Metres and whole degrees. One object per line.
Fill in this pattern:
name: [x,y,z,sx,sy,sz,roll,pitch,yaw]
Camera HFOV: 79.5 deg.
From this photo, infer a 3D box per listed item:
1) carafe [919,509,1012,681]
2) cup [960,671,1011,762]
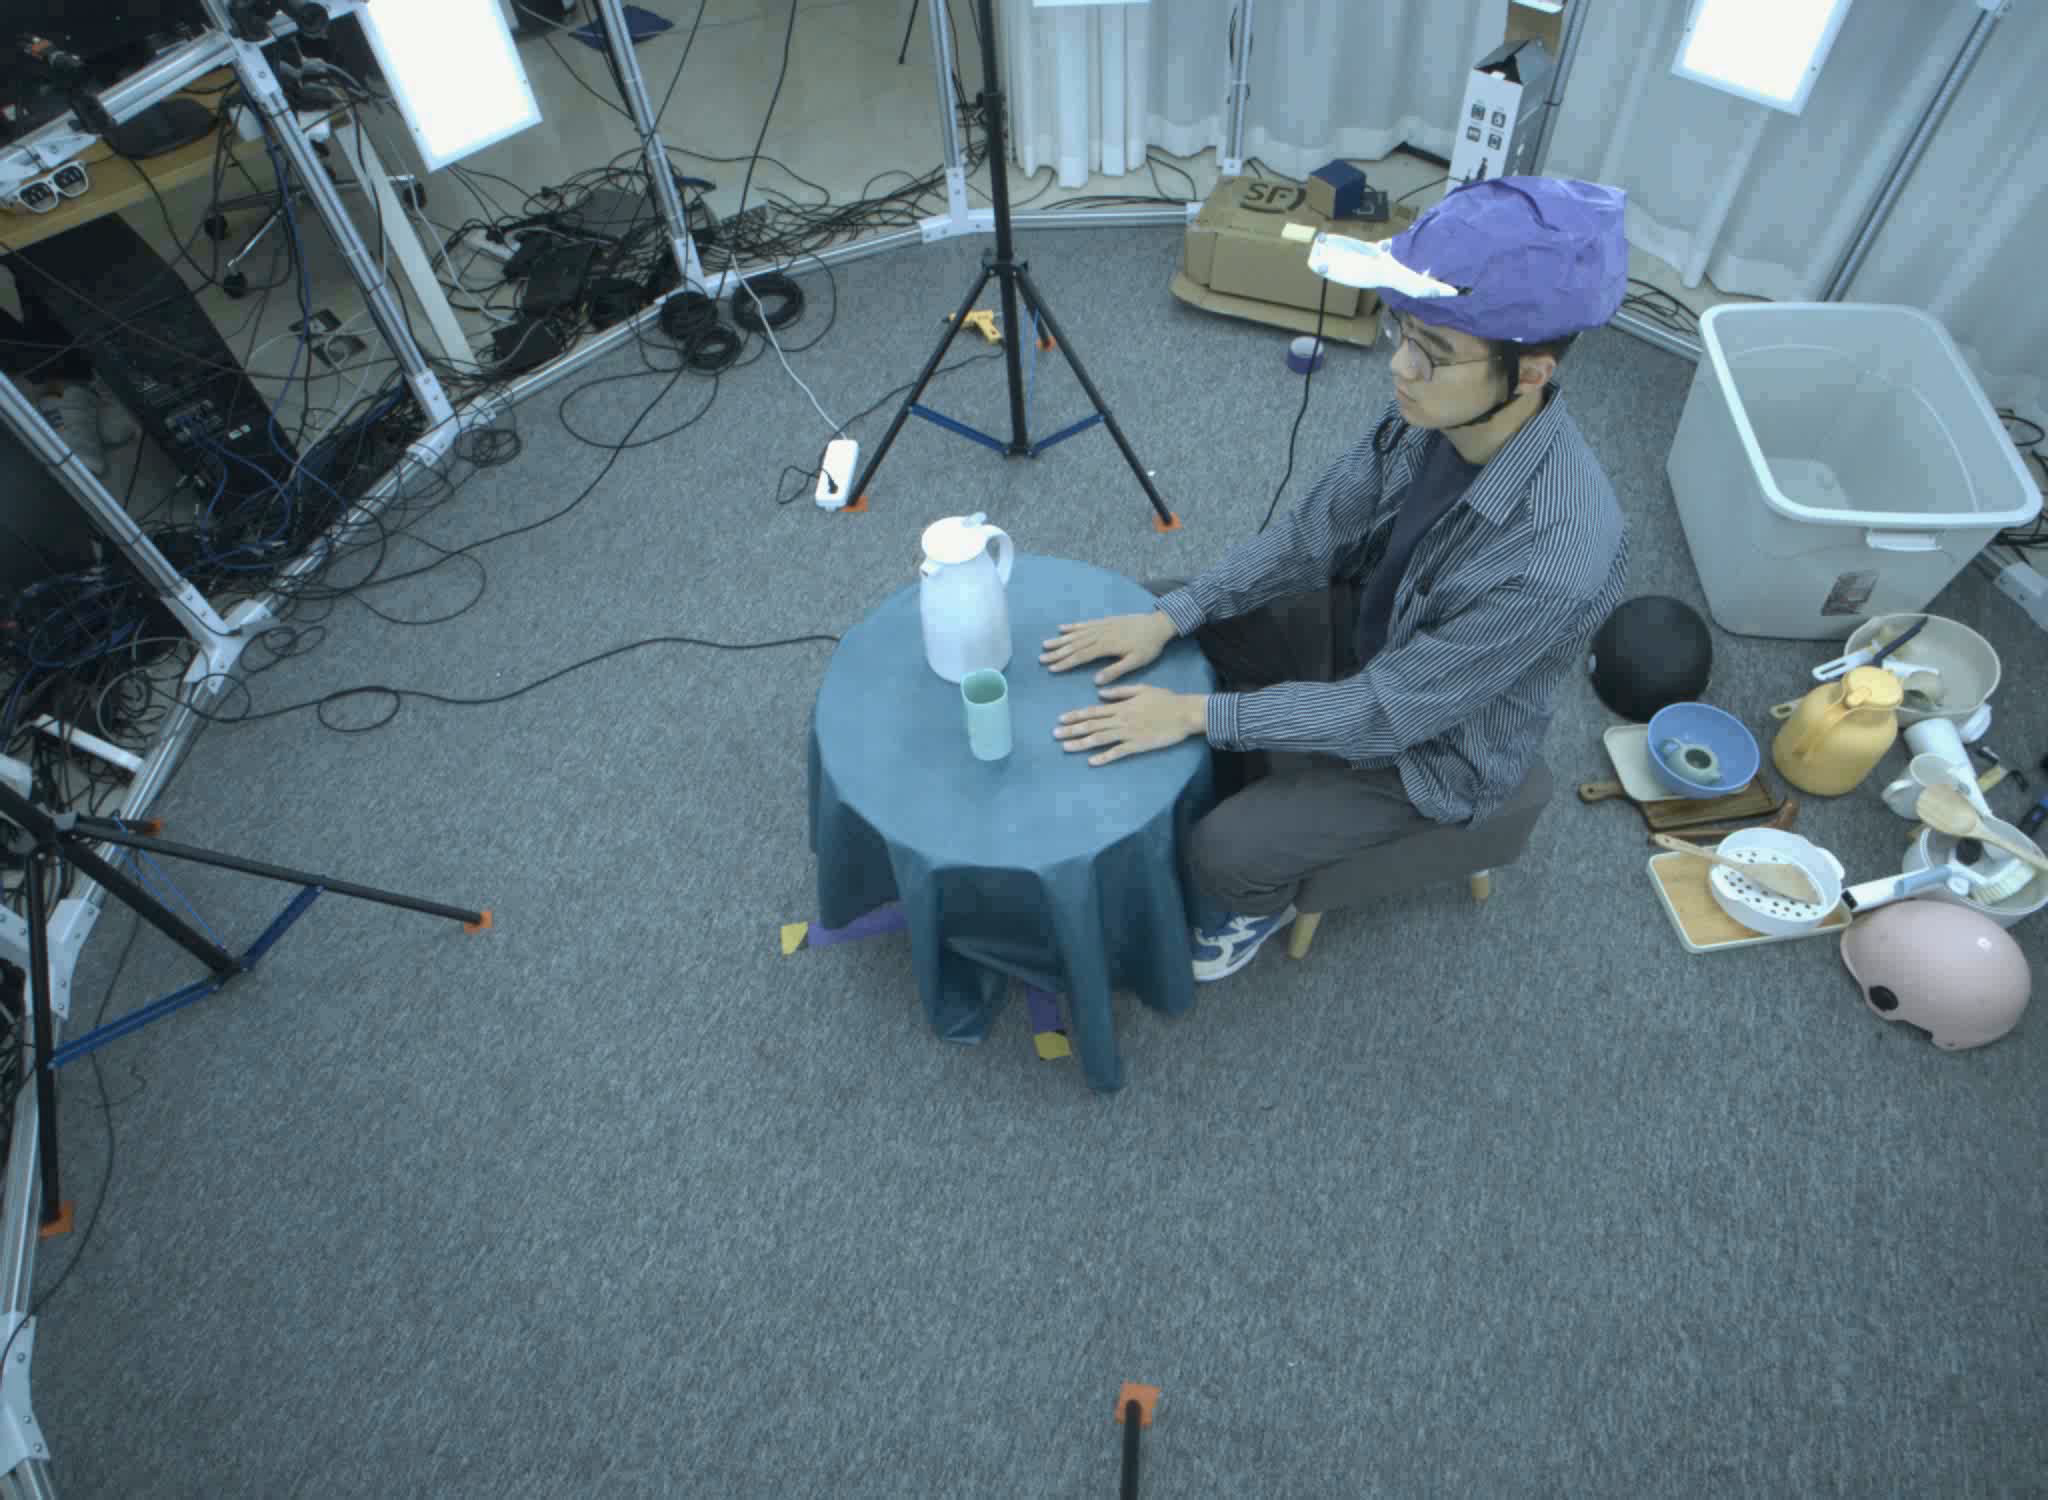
carafe: [-0.080,-0.242,1.808,0.130,0.251,0.169,32,61,24]
cup: [-0.052,-0.047,1.750,0.066,0.134,0.066,-1,54,3]
